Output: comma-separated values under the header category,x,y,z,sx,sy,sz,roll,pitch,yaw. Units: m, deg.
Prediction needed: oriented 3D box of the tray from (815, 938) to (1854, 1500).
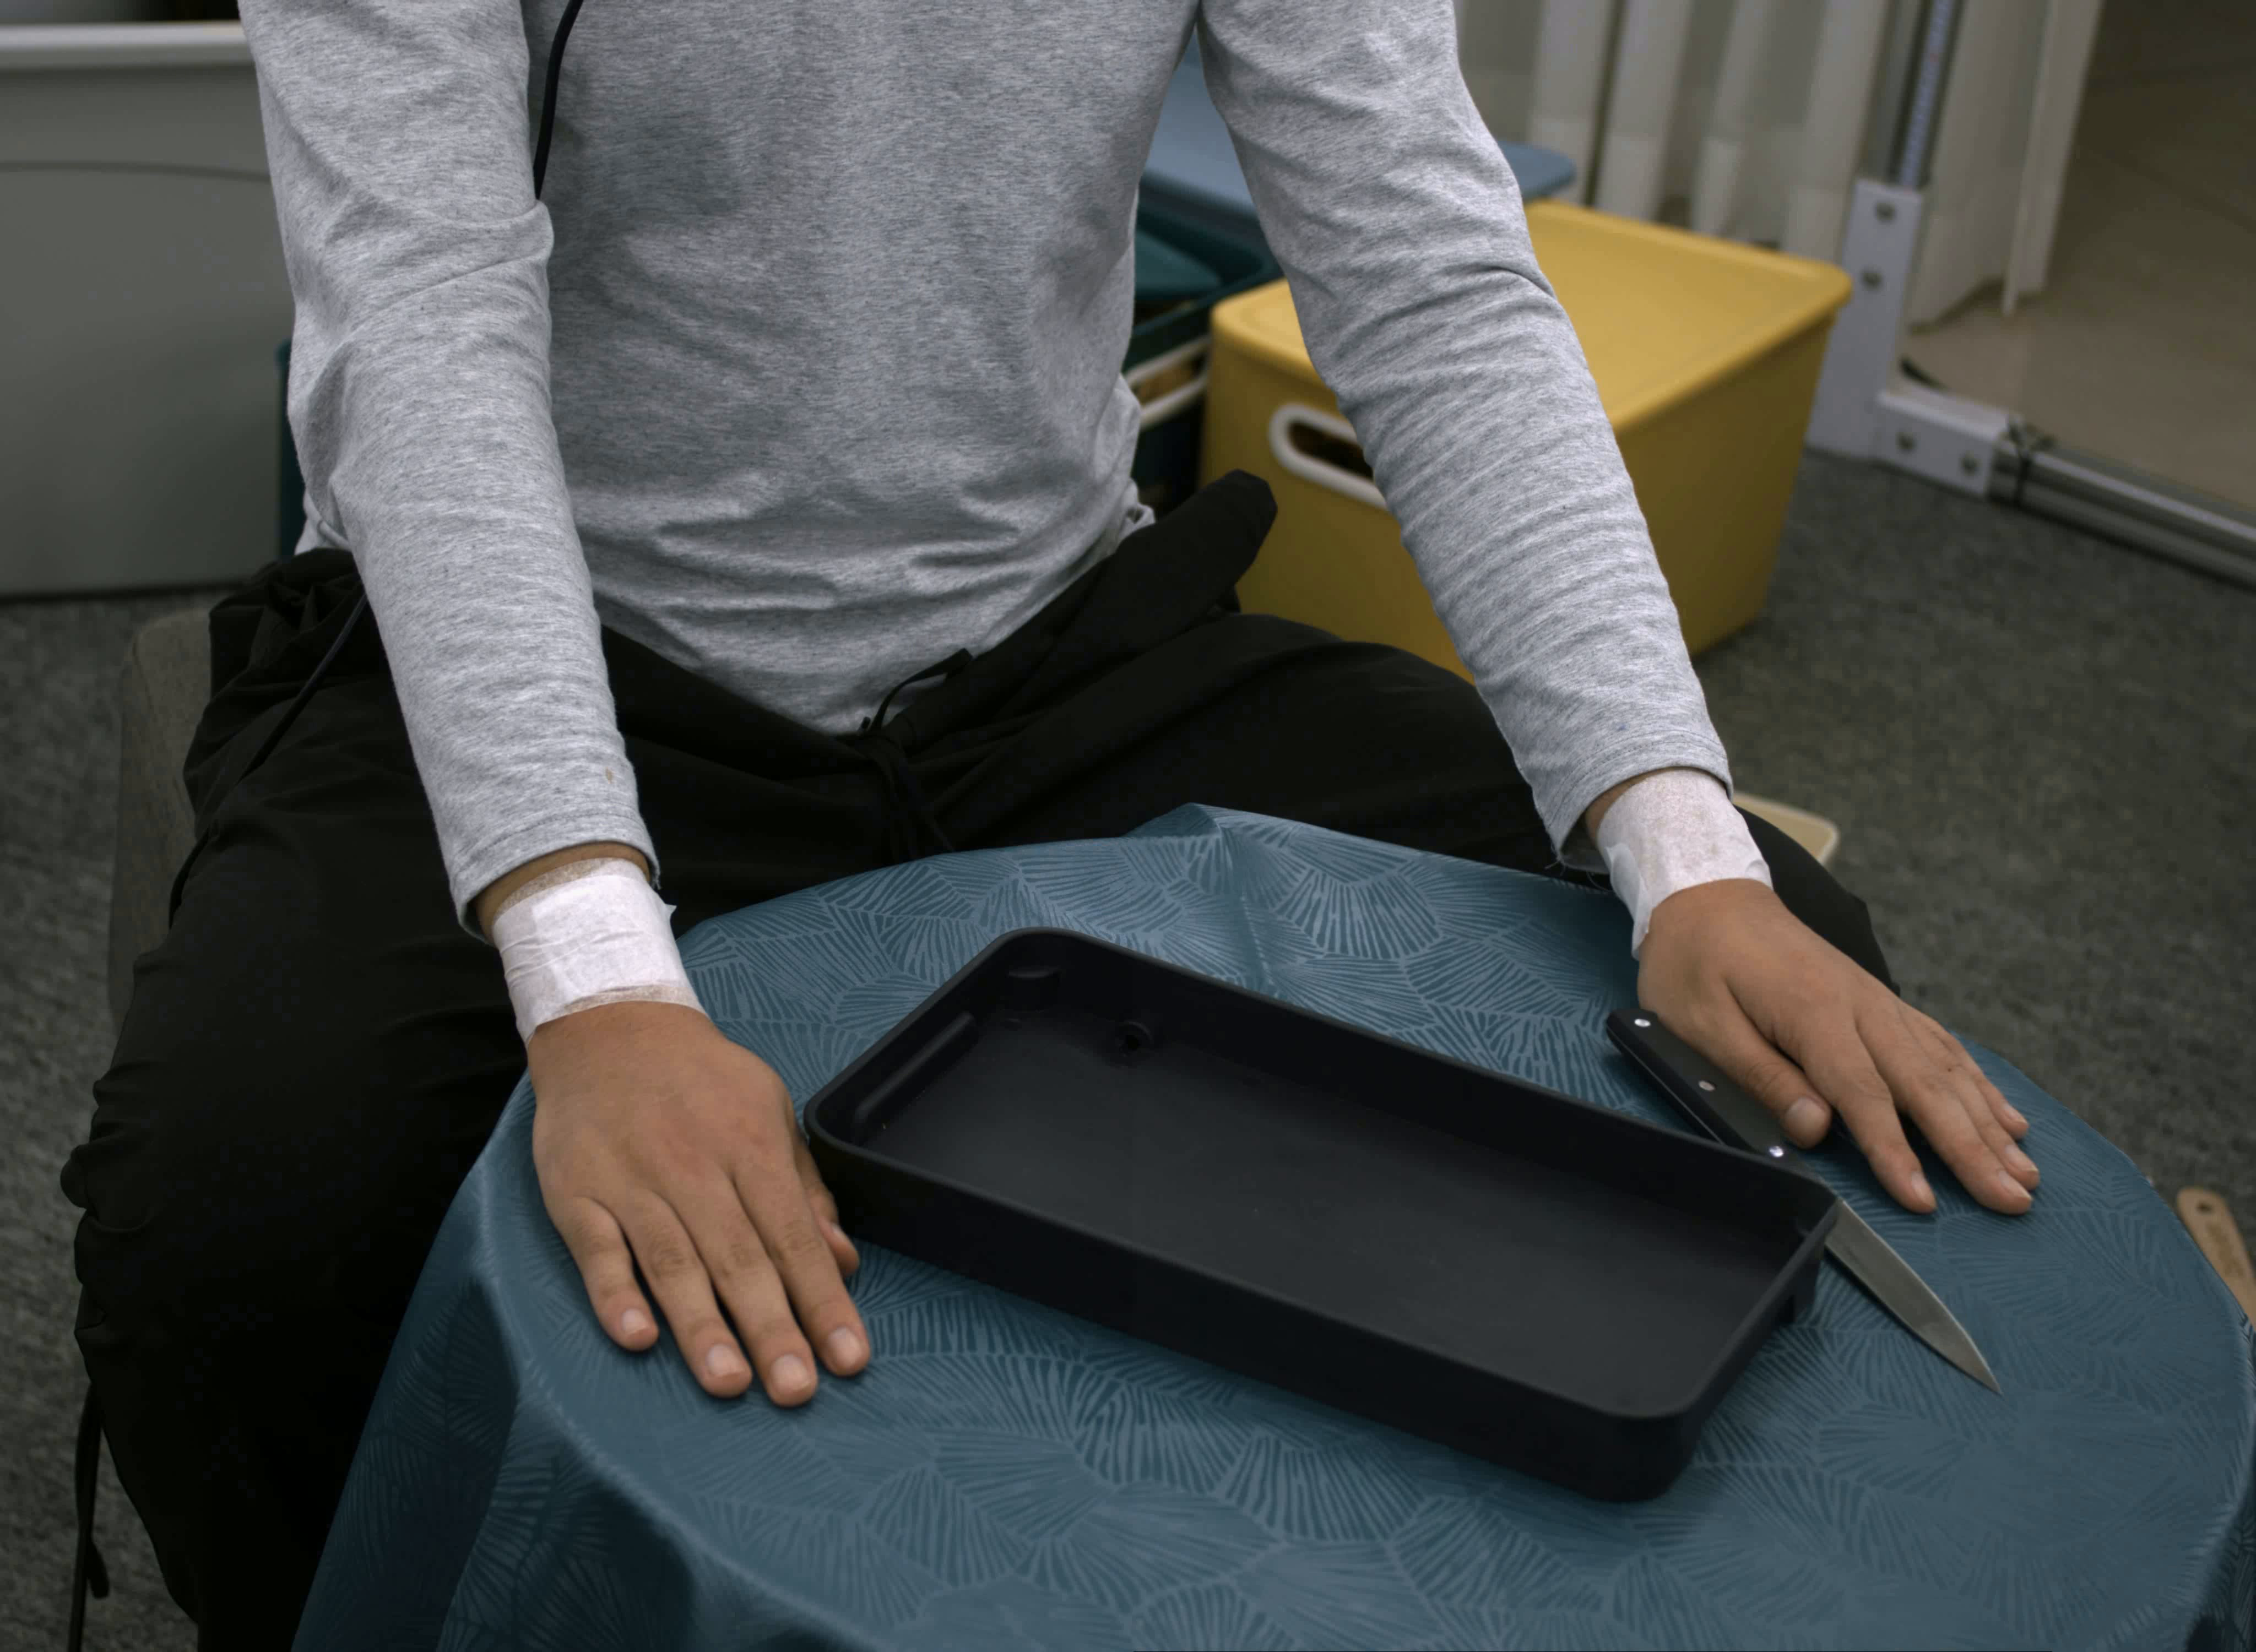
category,x,y,z,sx,sy,sz,roll,pitch,yaw
tray,0.068,0.126,1.777,0.319,0.037,0.184,16,28,20

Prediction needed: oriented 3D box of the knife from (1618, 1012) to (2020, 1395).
category,x,y,z,sx,sy,sz,roll,pitch,yaw
knife,0.235,0.130,1.834,0.024,0.016,0.240,-6,32,-28
